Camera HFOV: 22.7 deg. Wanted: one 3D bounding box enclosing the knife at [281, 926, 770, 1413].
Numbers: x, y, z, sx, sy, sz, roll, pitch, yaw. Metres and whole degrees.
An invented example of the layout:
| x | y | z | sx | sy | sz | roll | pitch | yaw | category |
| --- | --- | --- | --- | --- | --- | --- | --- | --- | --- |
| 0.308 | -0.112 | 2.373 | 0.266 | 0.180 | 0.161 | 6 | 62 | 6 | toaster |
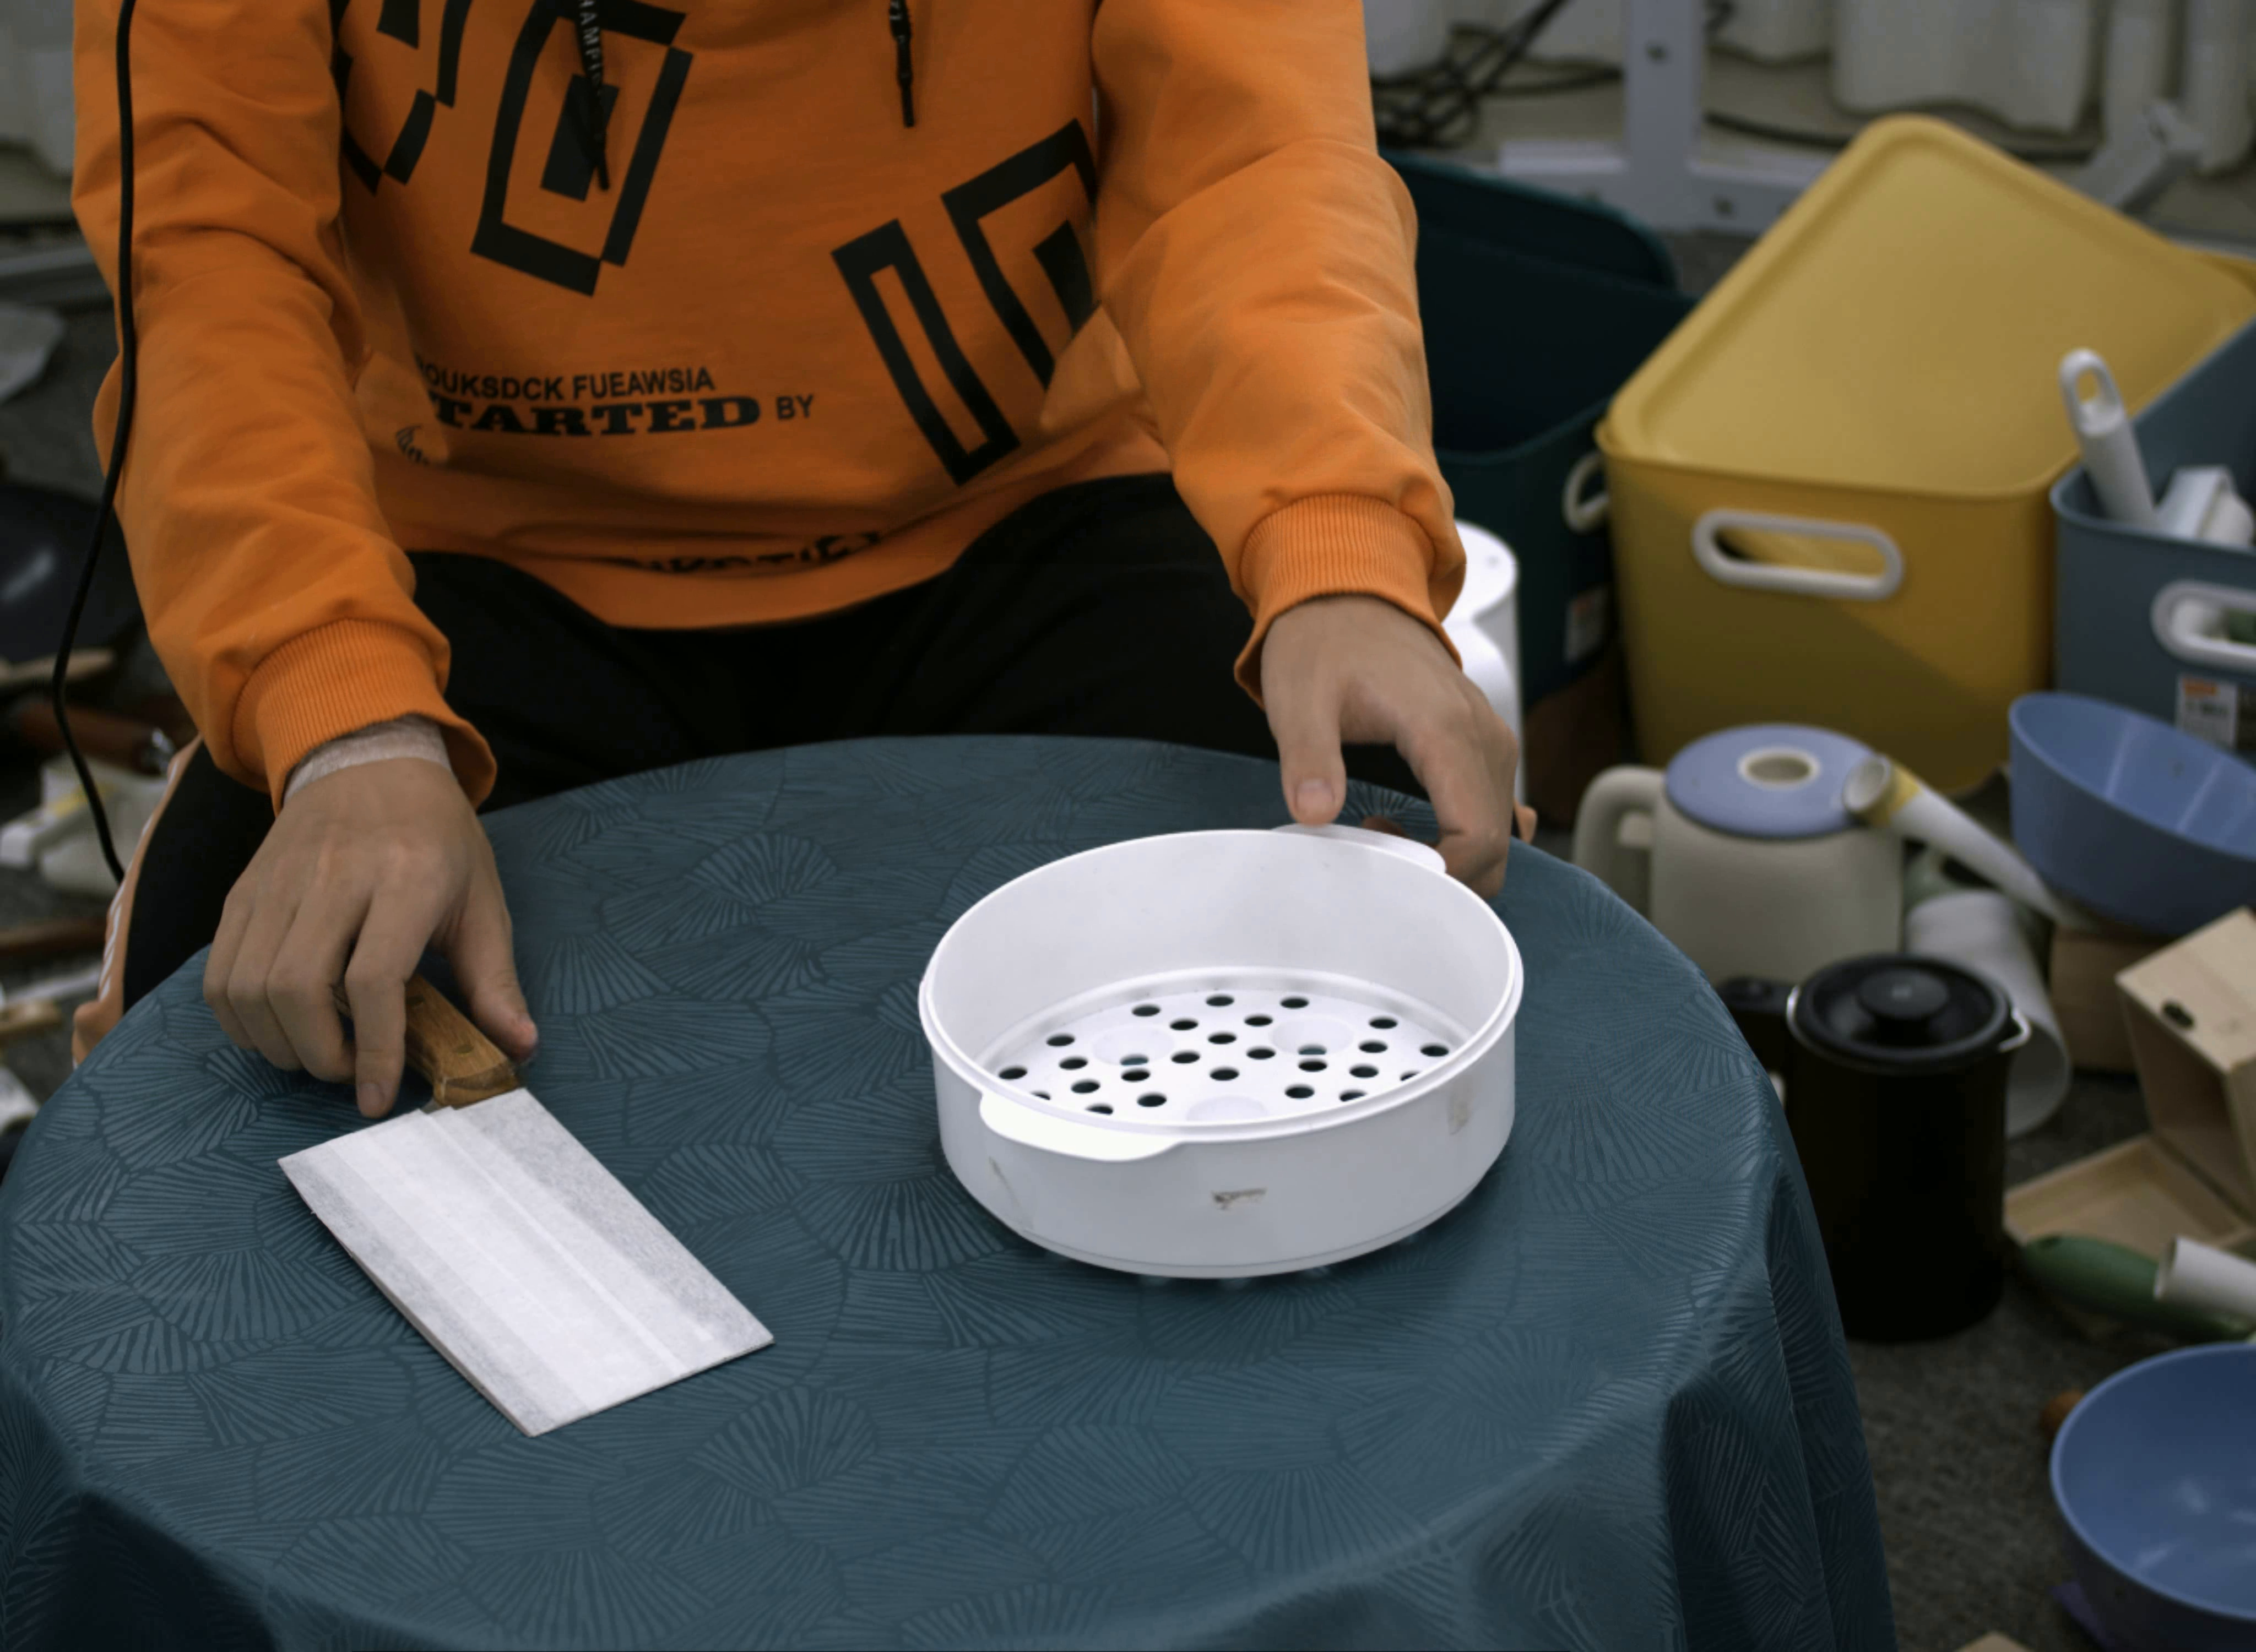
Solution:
| x | y | z | sx | sy | sz | roll | pitch | yaw | category |
| --- | --- | --- | --- | --- | --- | --- | --- | --- | --- |
| -0.228 | 0.115 | 1.881 | 0.093 | 0.021 | 0.307 | -19 | 34 | -26 | knife |

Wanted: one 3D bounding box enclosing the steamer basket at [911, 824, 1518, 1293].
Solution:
| x | y | z | sx | sy | sz | roll | pitch | yaw | category |
| --- | --- | --- | --- | --- | --- | --- | --- | --- | --- |
| 0.030 | 0.079 | 1.868 | 0.200 | 0.068 | 0.234 | 11 | 32 | 27 | steamer basket |
